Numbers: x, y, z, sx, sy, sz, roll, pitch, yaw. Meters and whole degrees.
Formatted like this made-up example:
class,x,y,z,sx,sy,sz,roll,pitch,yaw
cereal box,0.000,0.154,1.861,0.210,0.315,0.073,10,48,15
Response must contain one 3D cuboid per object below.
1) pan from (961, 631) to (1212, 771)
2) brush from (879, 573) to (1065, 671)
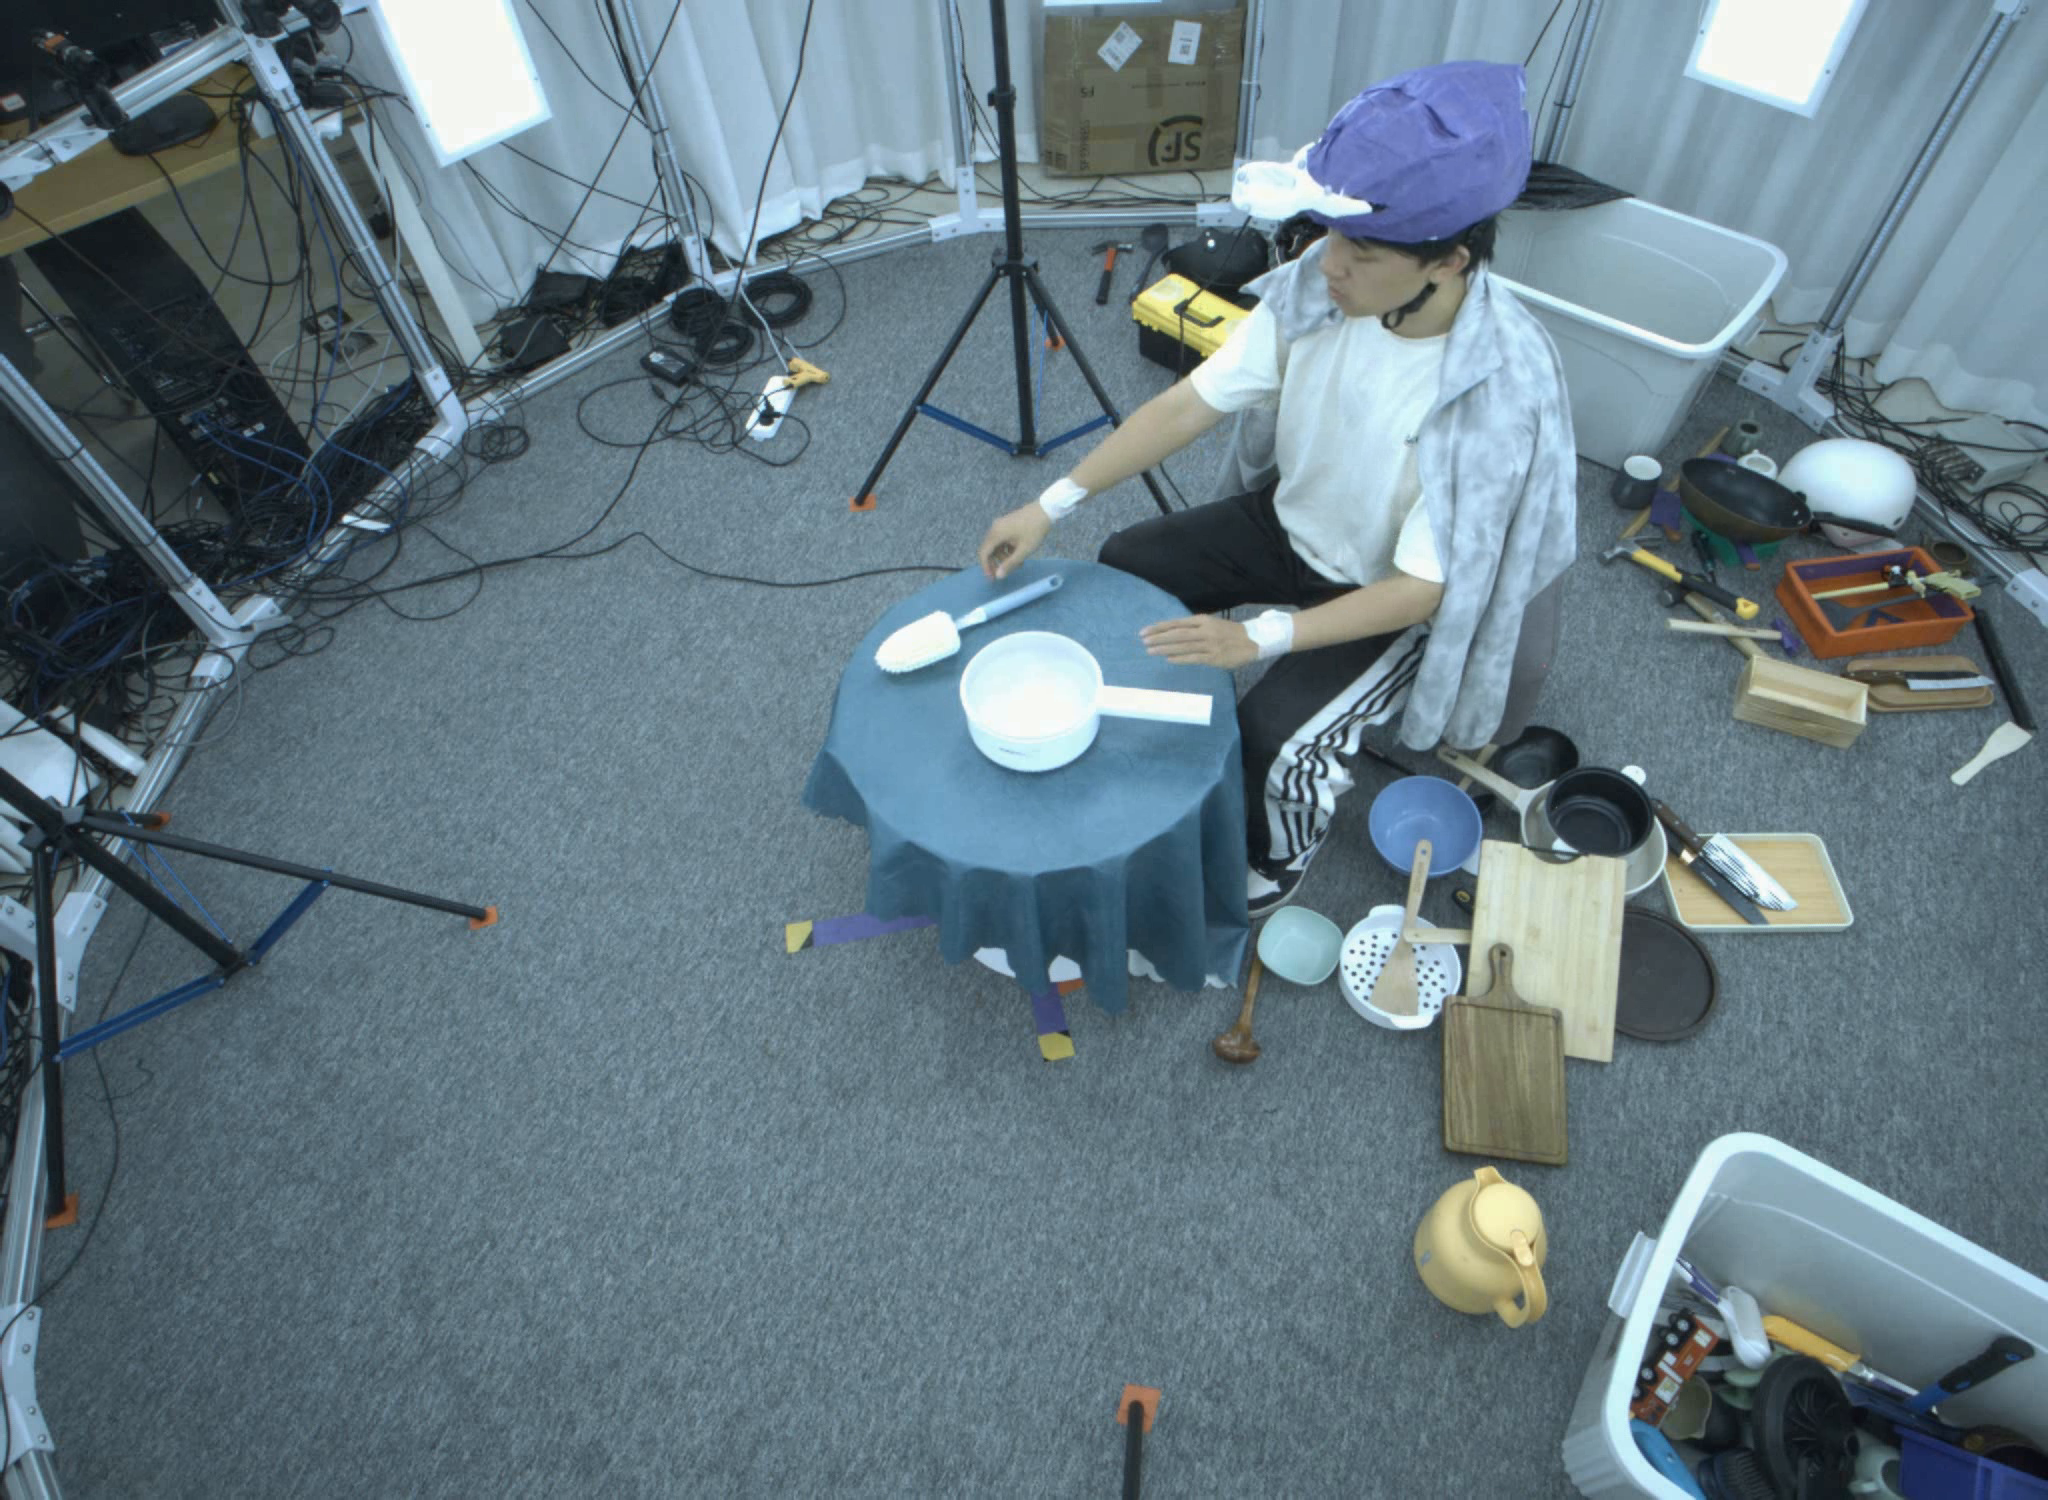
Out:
class,x,y,z,sx,sy,sz,roll,pitch,yaw
pan,0.089,-0.057,1.764,0.353,0.103,0.200,7,55,7
brush,-0.074,-0.207,1.887,0.328,0.084,0.083,-26,50,-14
